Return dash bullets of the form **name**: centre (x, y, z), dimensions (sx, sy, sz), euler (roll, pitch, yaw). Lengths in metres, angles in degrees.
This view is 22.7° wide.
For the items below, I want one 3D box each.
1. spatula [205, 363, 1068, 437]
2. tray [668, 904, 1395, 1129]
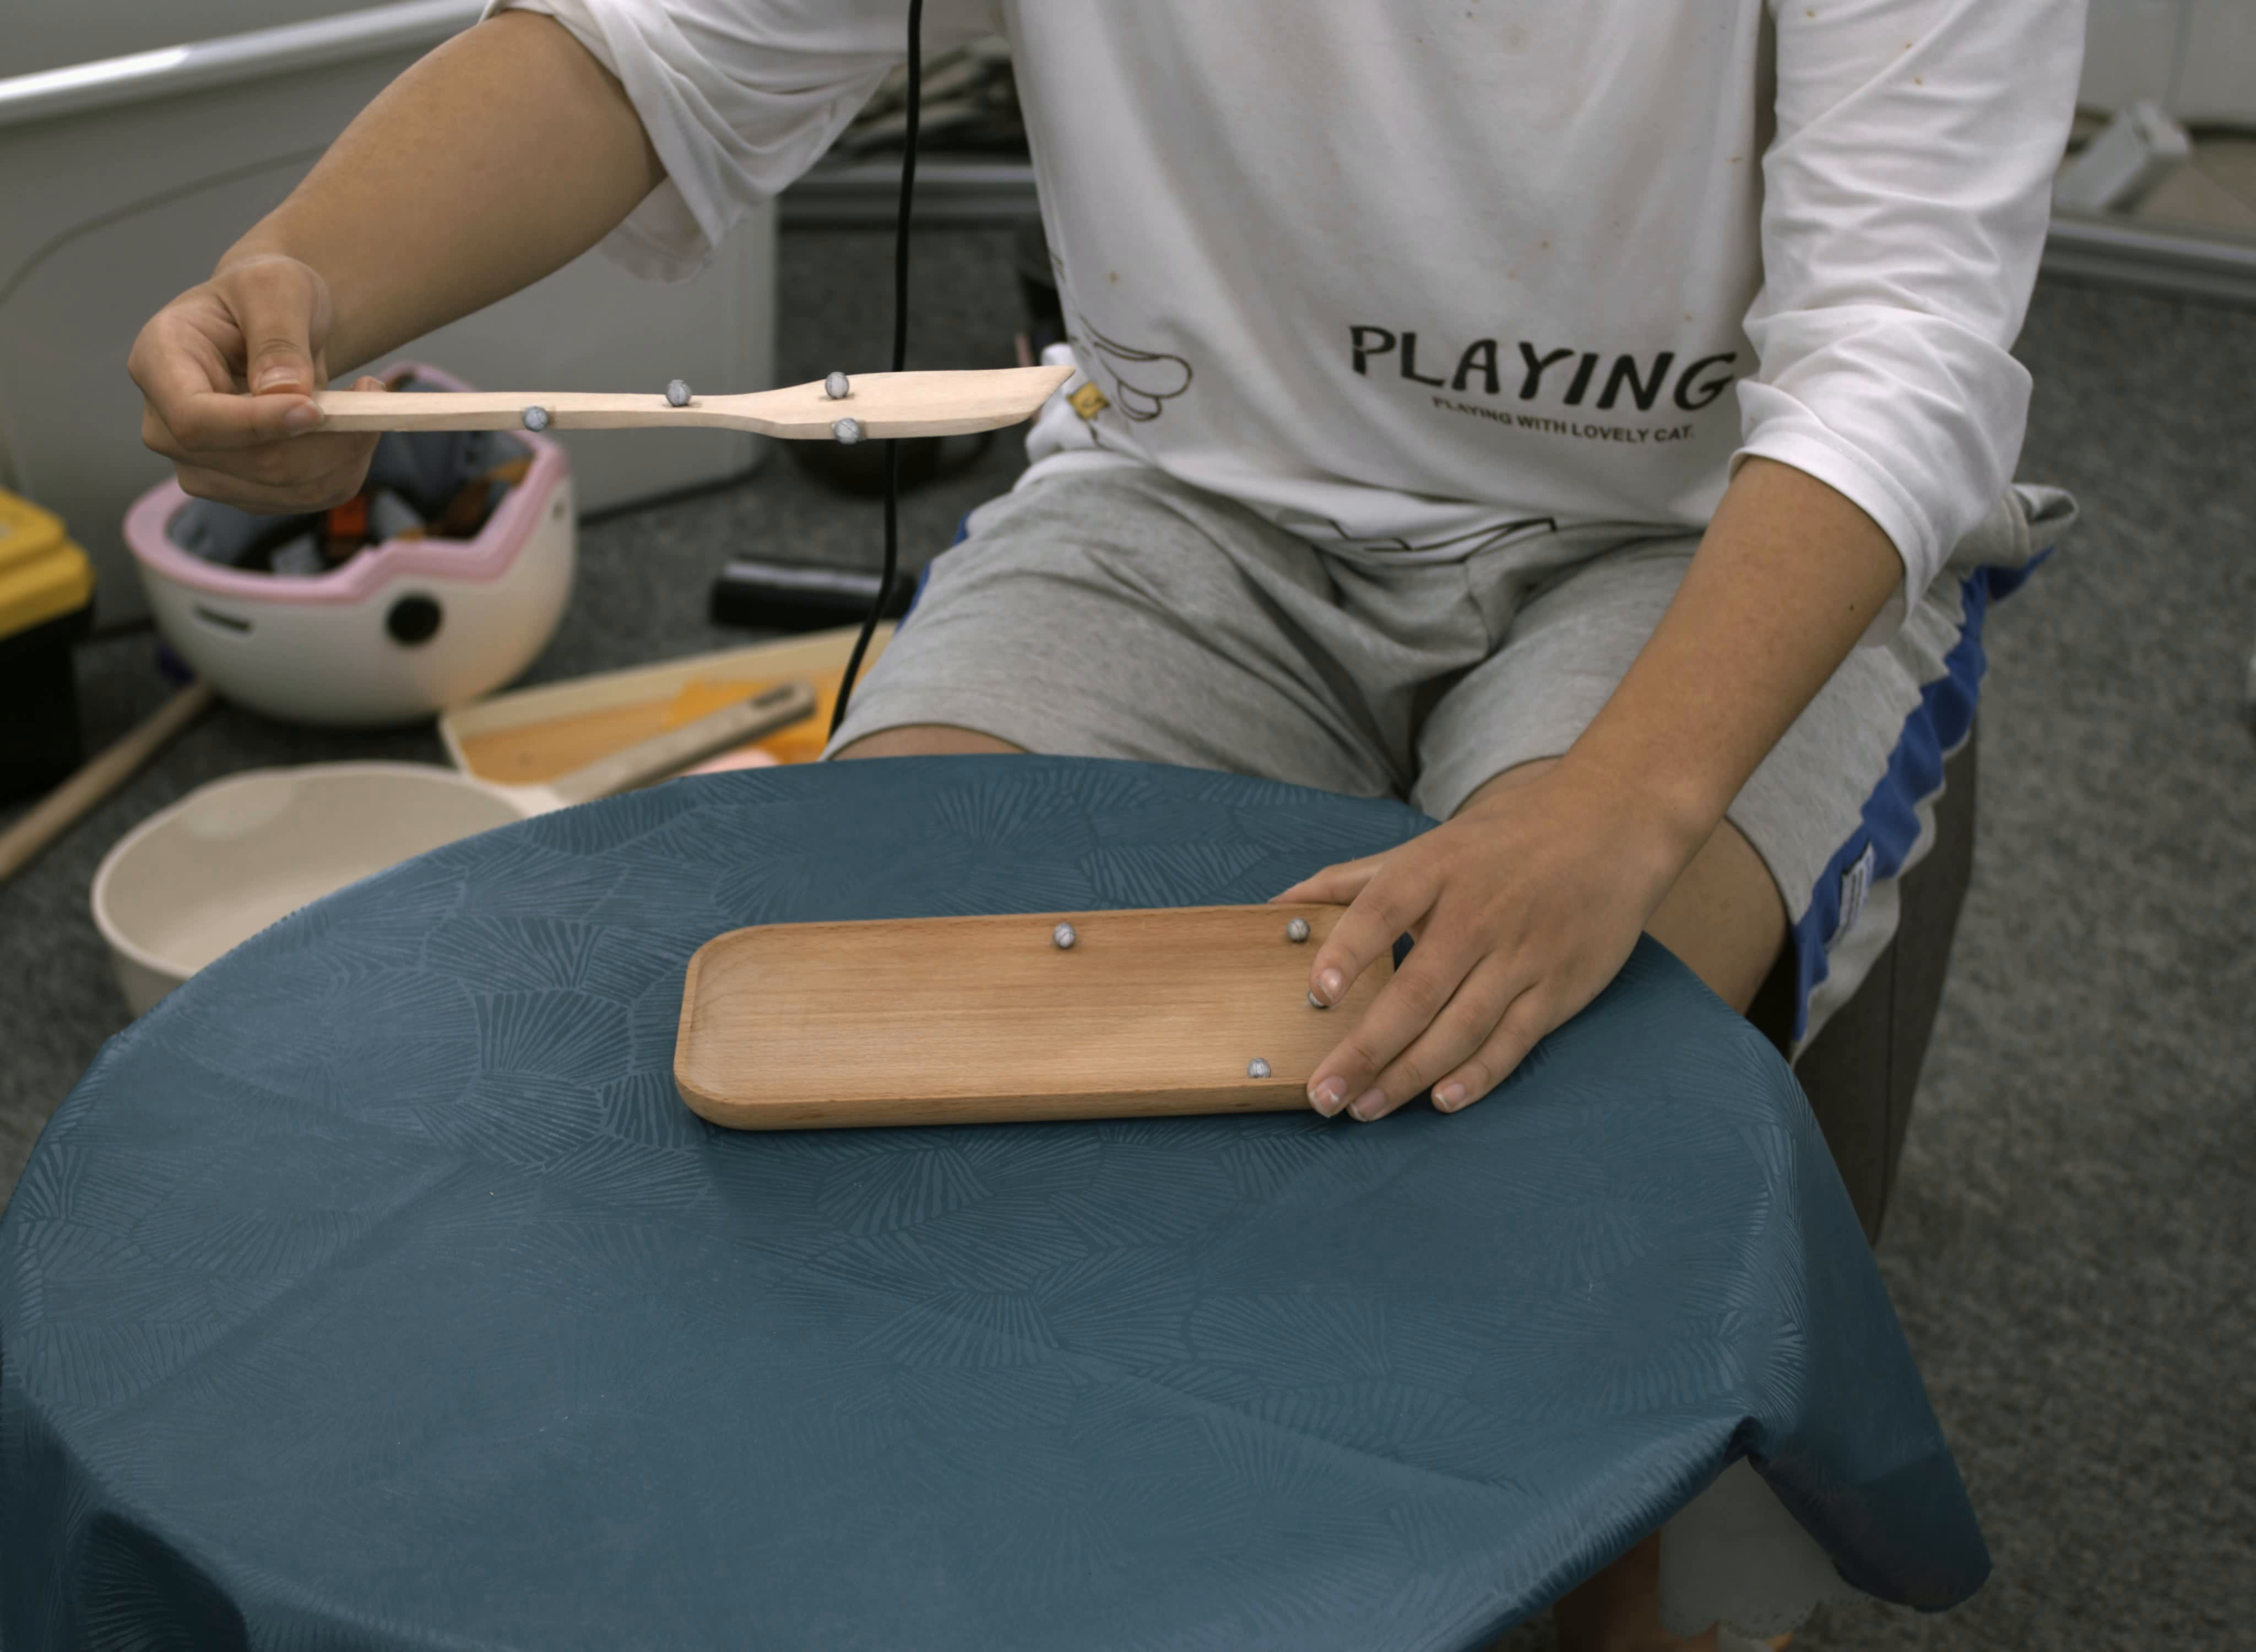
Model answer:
- **spatula**: centre (-0.167, -0.139, 1.862), dimensions (0.291, 0.010, 0.073), euler (0, 18, 12)
- **tray**: centre (-0.032, 0.067, 1.957), dimensions (0.249, 0.022, 0.132), euler (-2, 25, 2)
